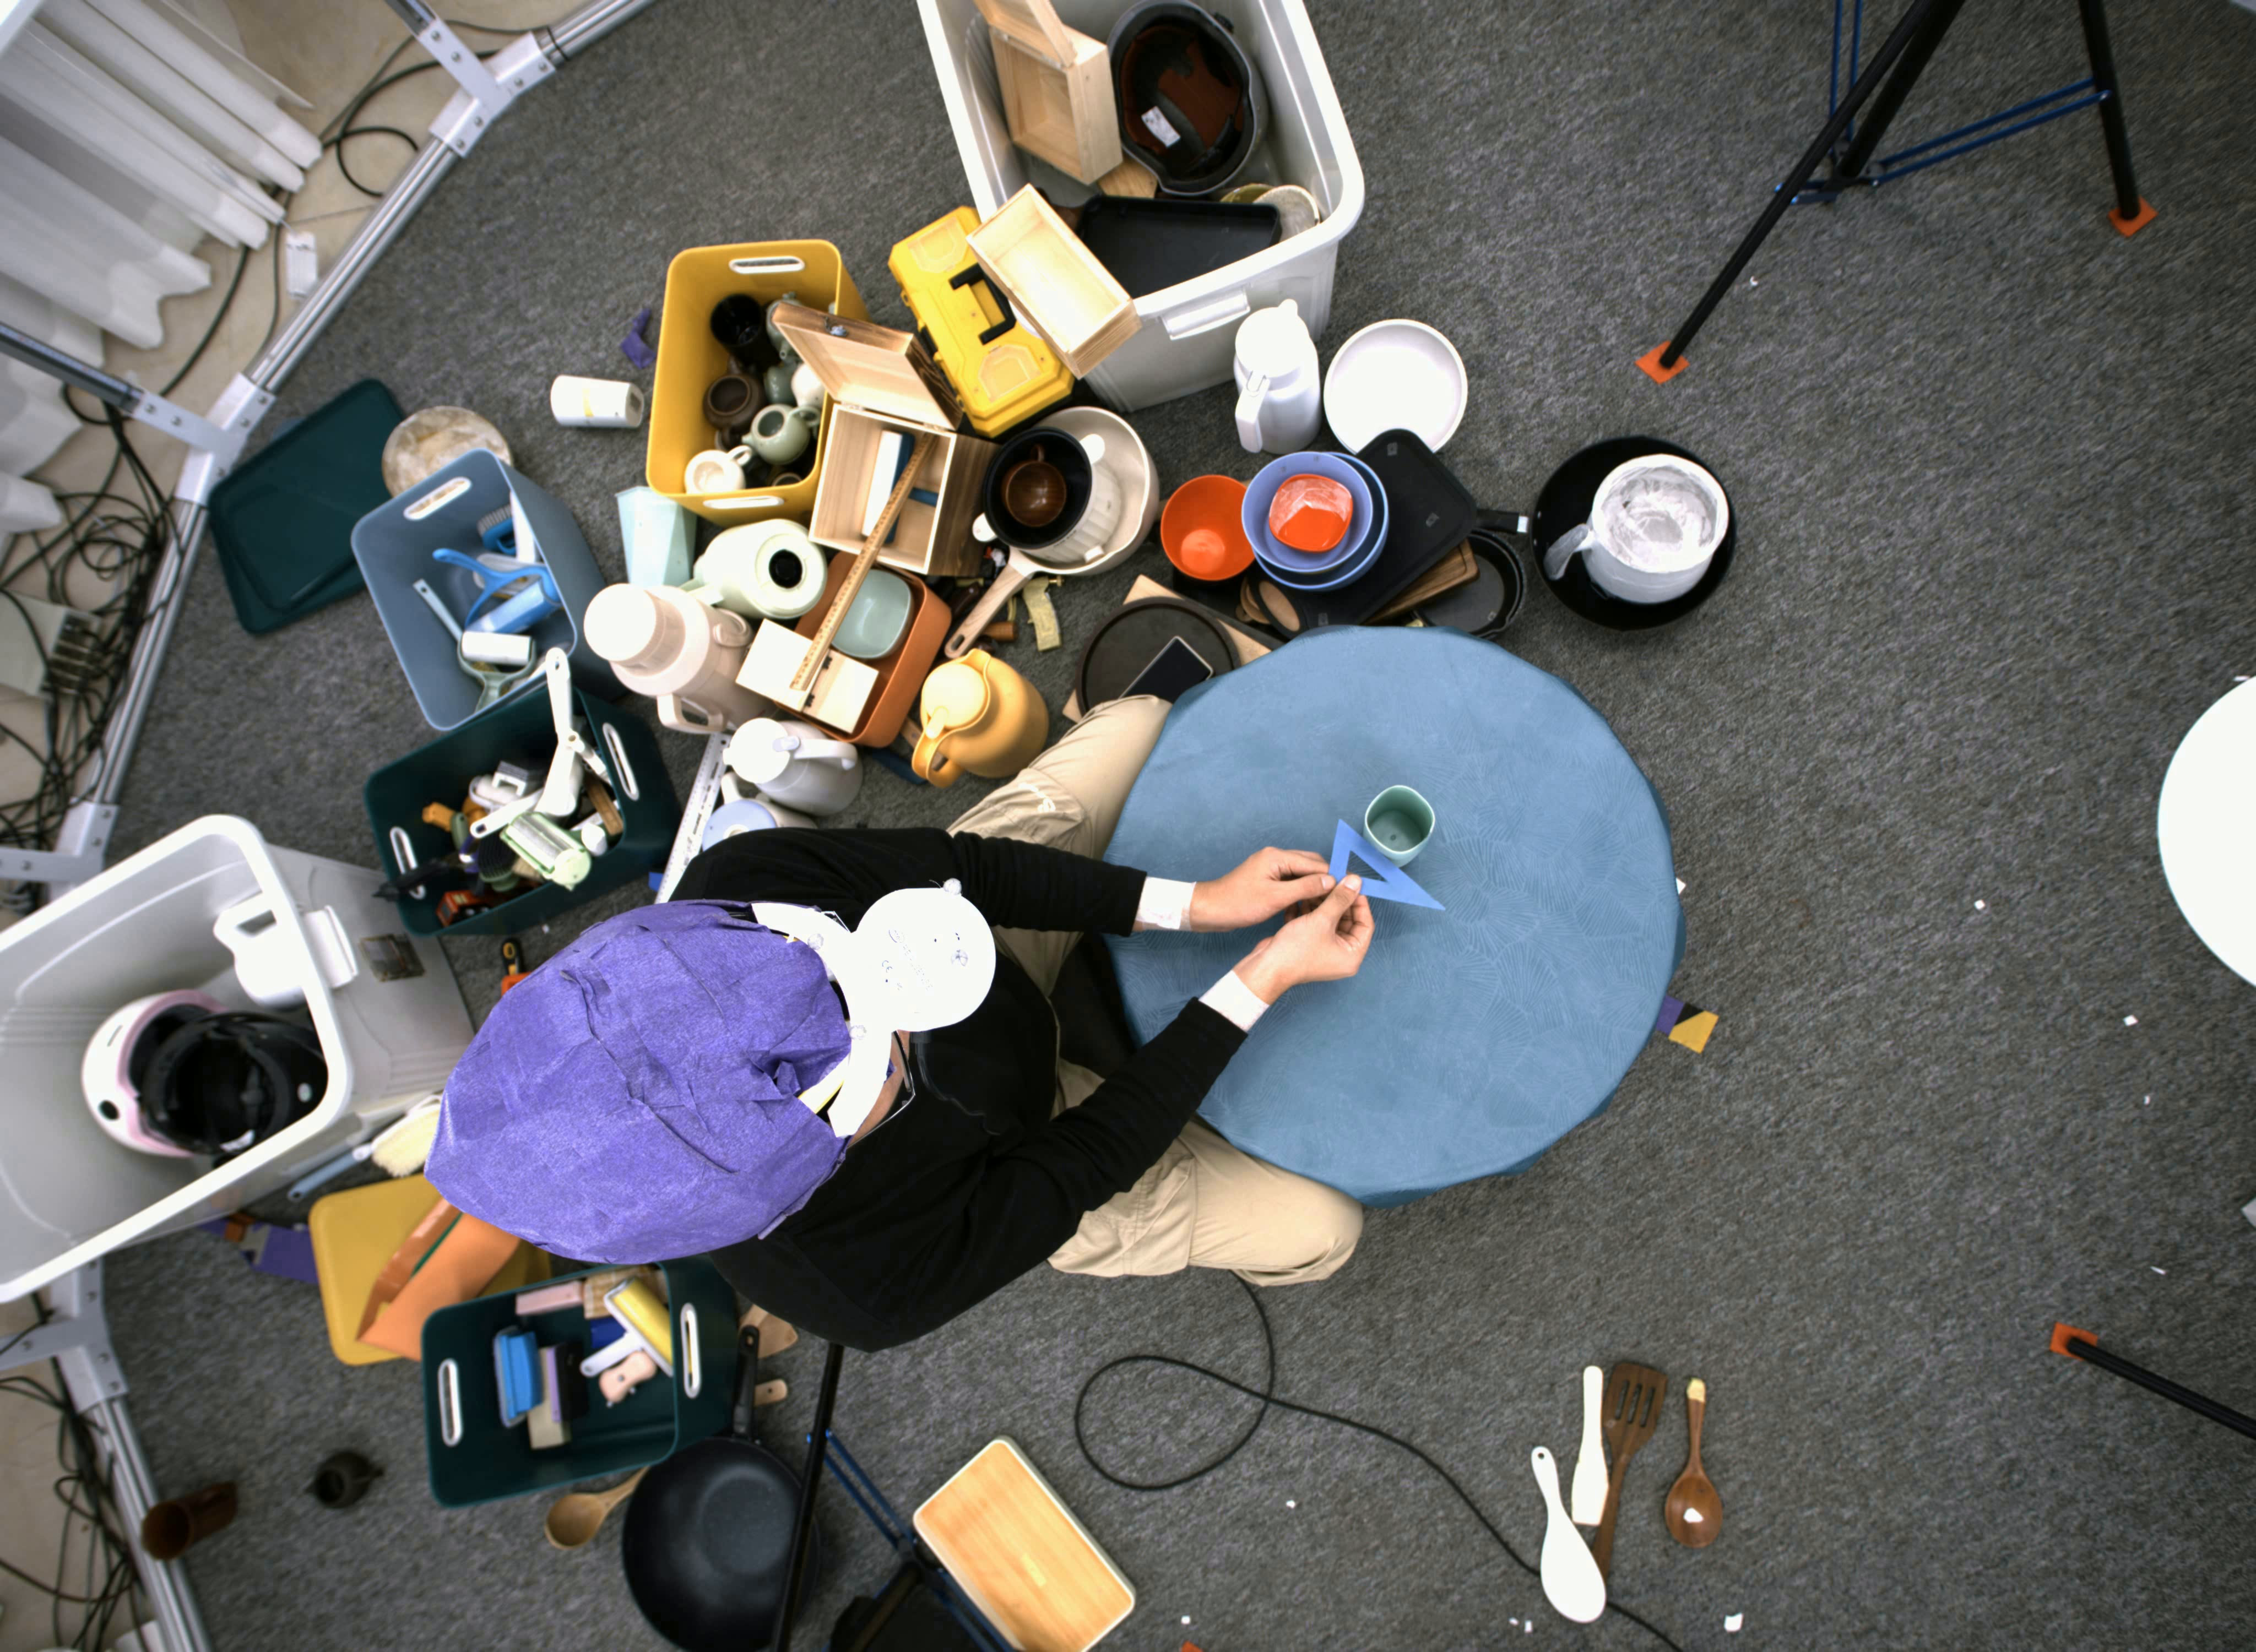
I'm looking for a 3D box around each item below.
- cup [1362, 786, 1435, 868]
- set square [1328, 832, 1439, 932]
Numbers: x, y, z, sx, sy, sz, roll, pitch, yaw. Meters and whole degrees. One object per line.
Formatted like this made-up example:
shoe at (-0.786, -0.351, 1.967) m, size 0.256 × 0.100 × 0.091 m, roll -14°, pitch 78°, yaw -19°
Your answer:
cup at (0.271, 0.003, 1.400) m, size 0.067 × 0.133 × 0.066 m, roll -1°, pitch 82°, yaw 7°
set square at (0.247, 0.069, 1.378) m, size 0.061 × 0.006 × 0.131 m, roll -45°, pitch 83°, yaw 3°
